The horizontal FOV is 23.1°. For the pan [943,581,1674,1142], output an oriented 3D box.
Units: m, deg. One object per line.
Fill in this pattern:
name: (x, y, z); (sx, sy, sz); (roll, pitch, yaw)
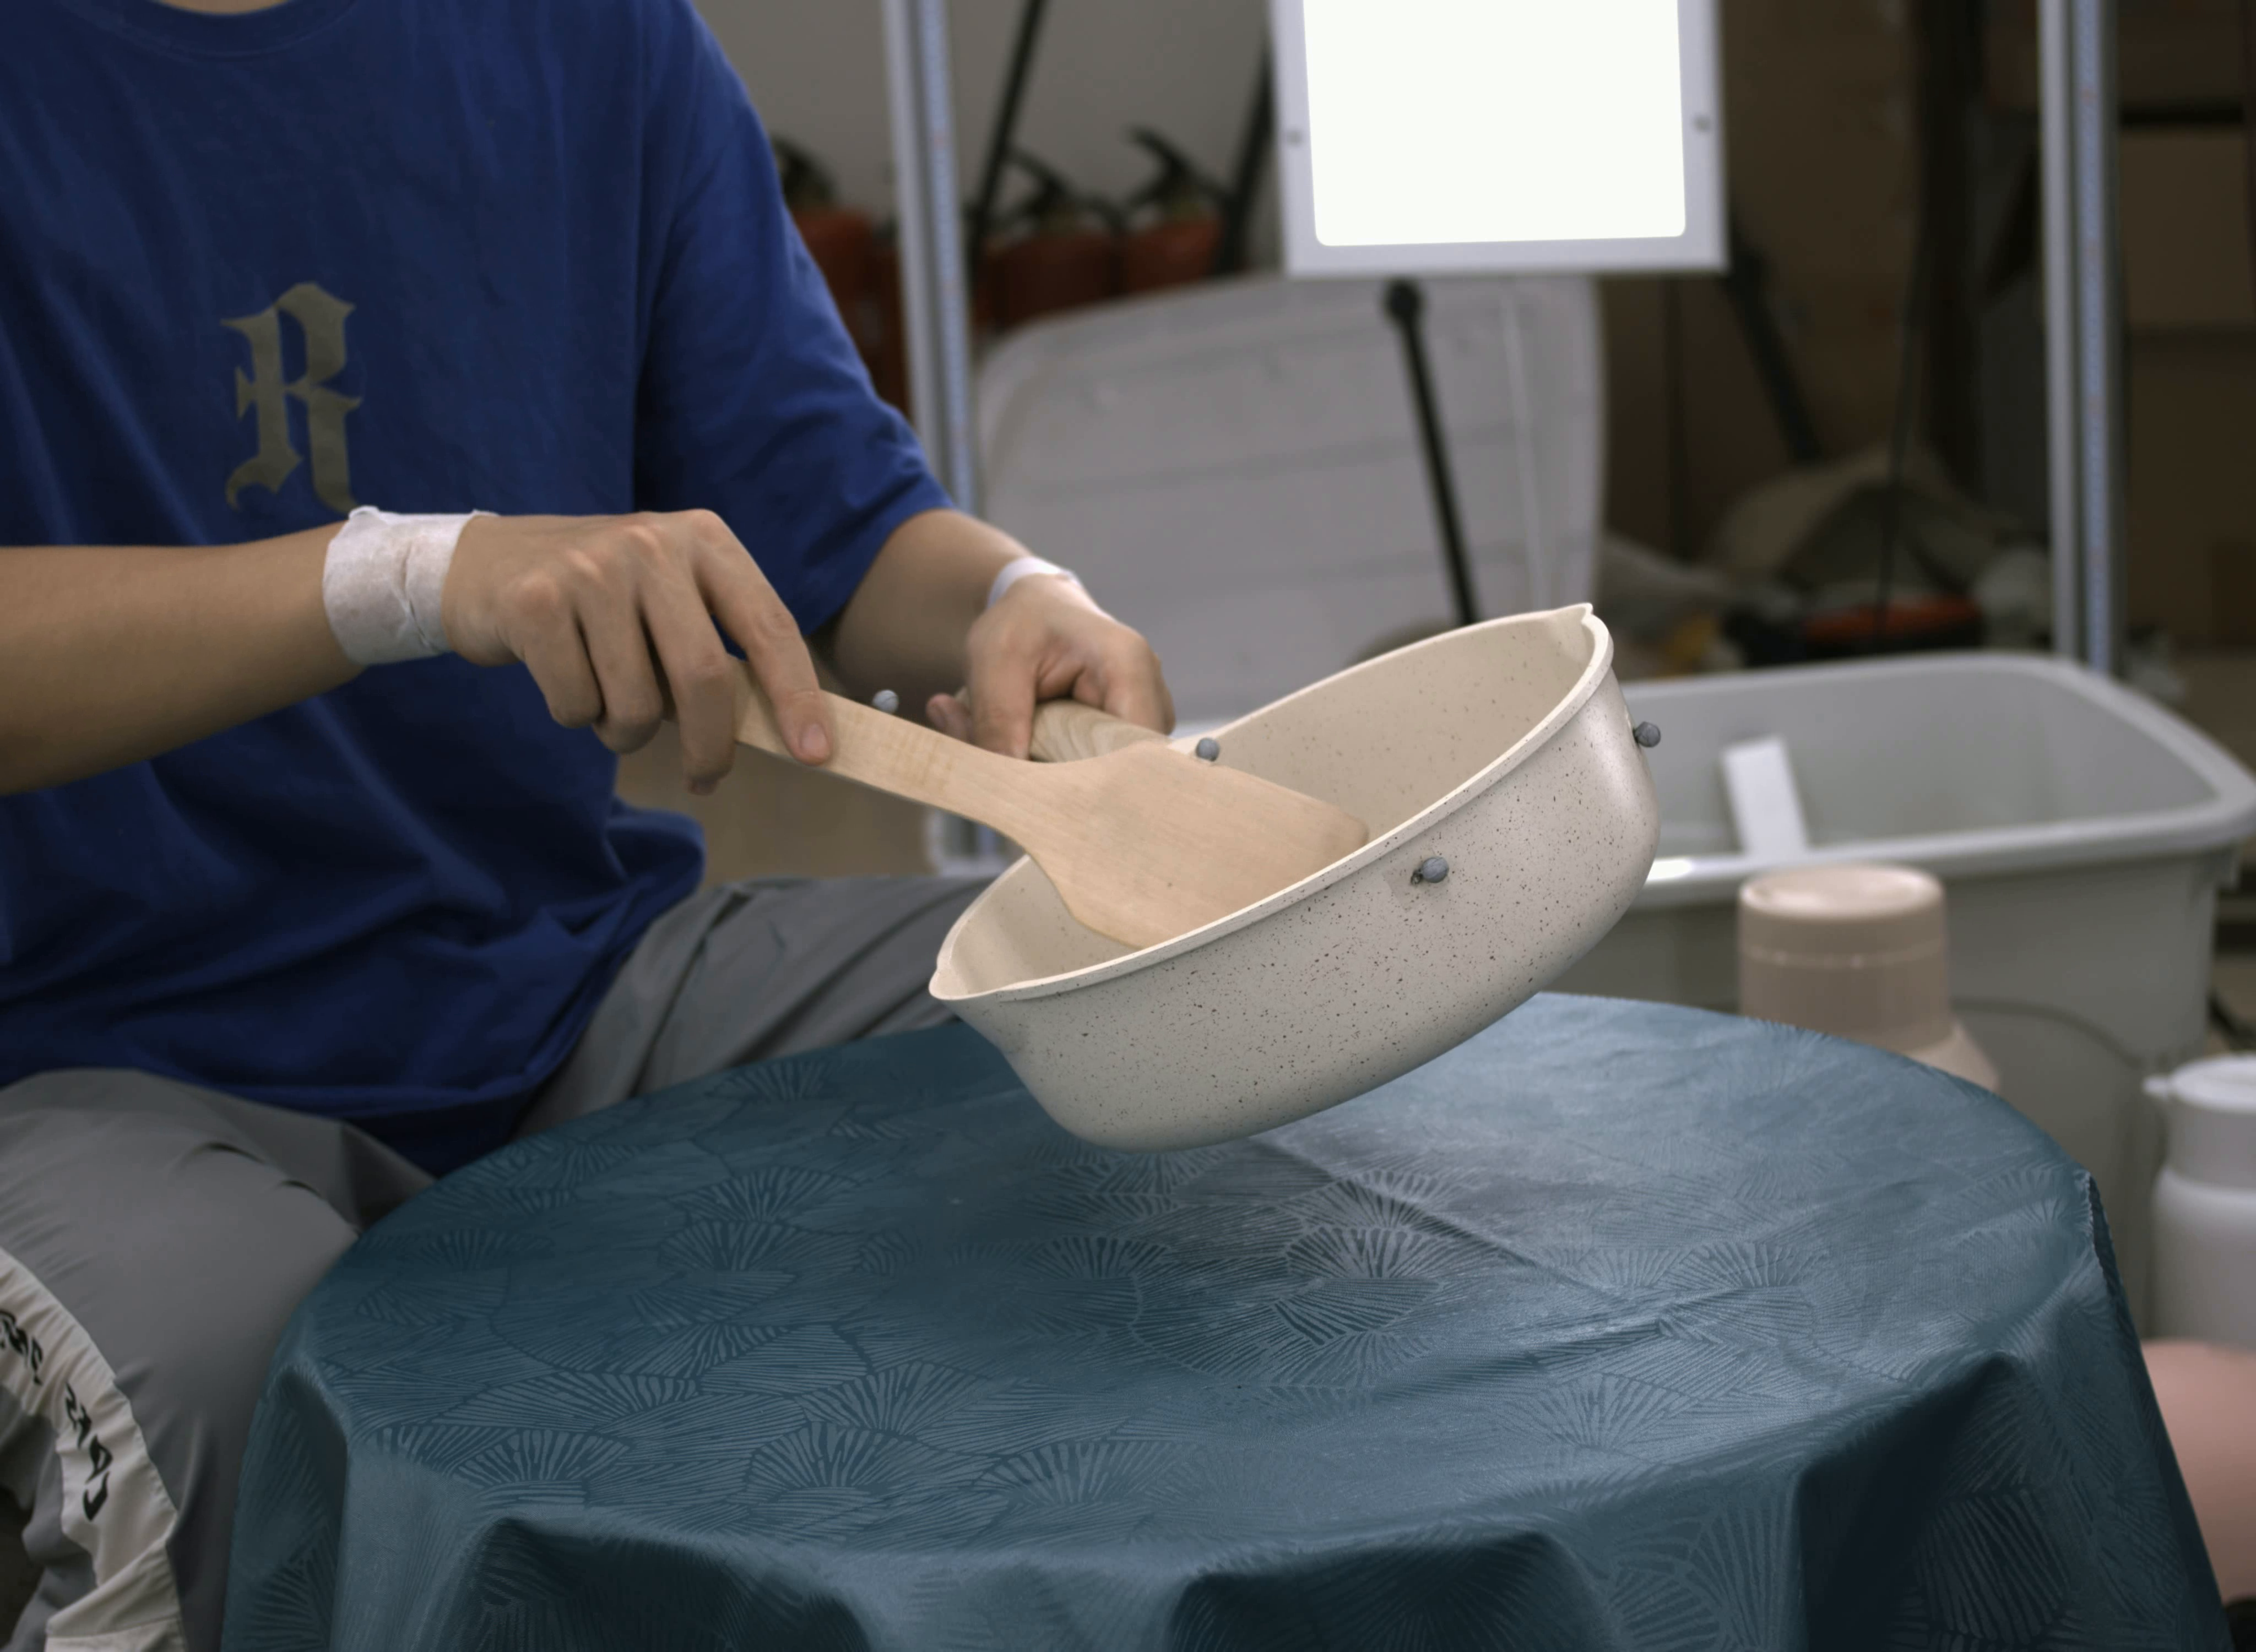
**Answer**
pan: (0.036, 0.007, 1.924); (0.260, 0.102, 0.440); (-33, 13, -14)

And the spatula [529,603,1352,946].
spatula: (-0.068, -0.020, 1.864); (0.295, 0.072, 0.010); (19, -10, 13)
